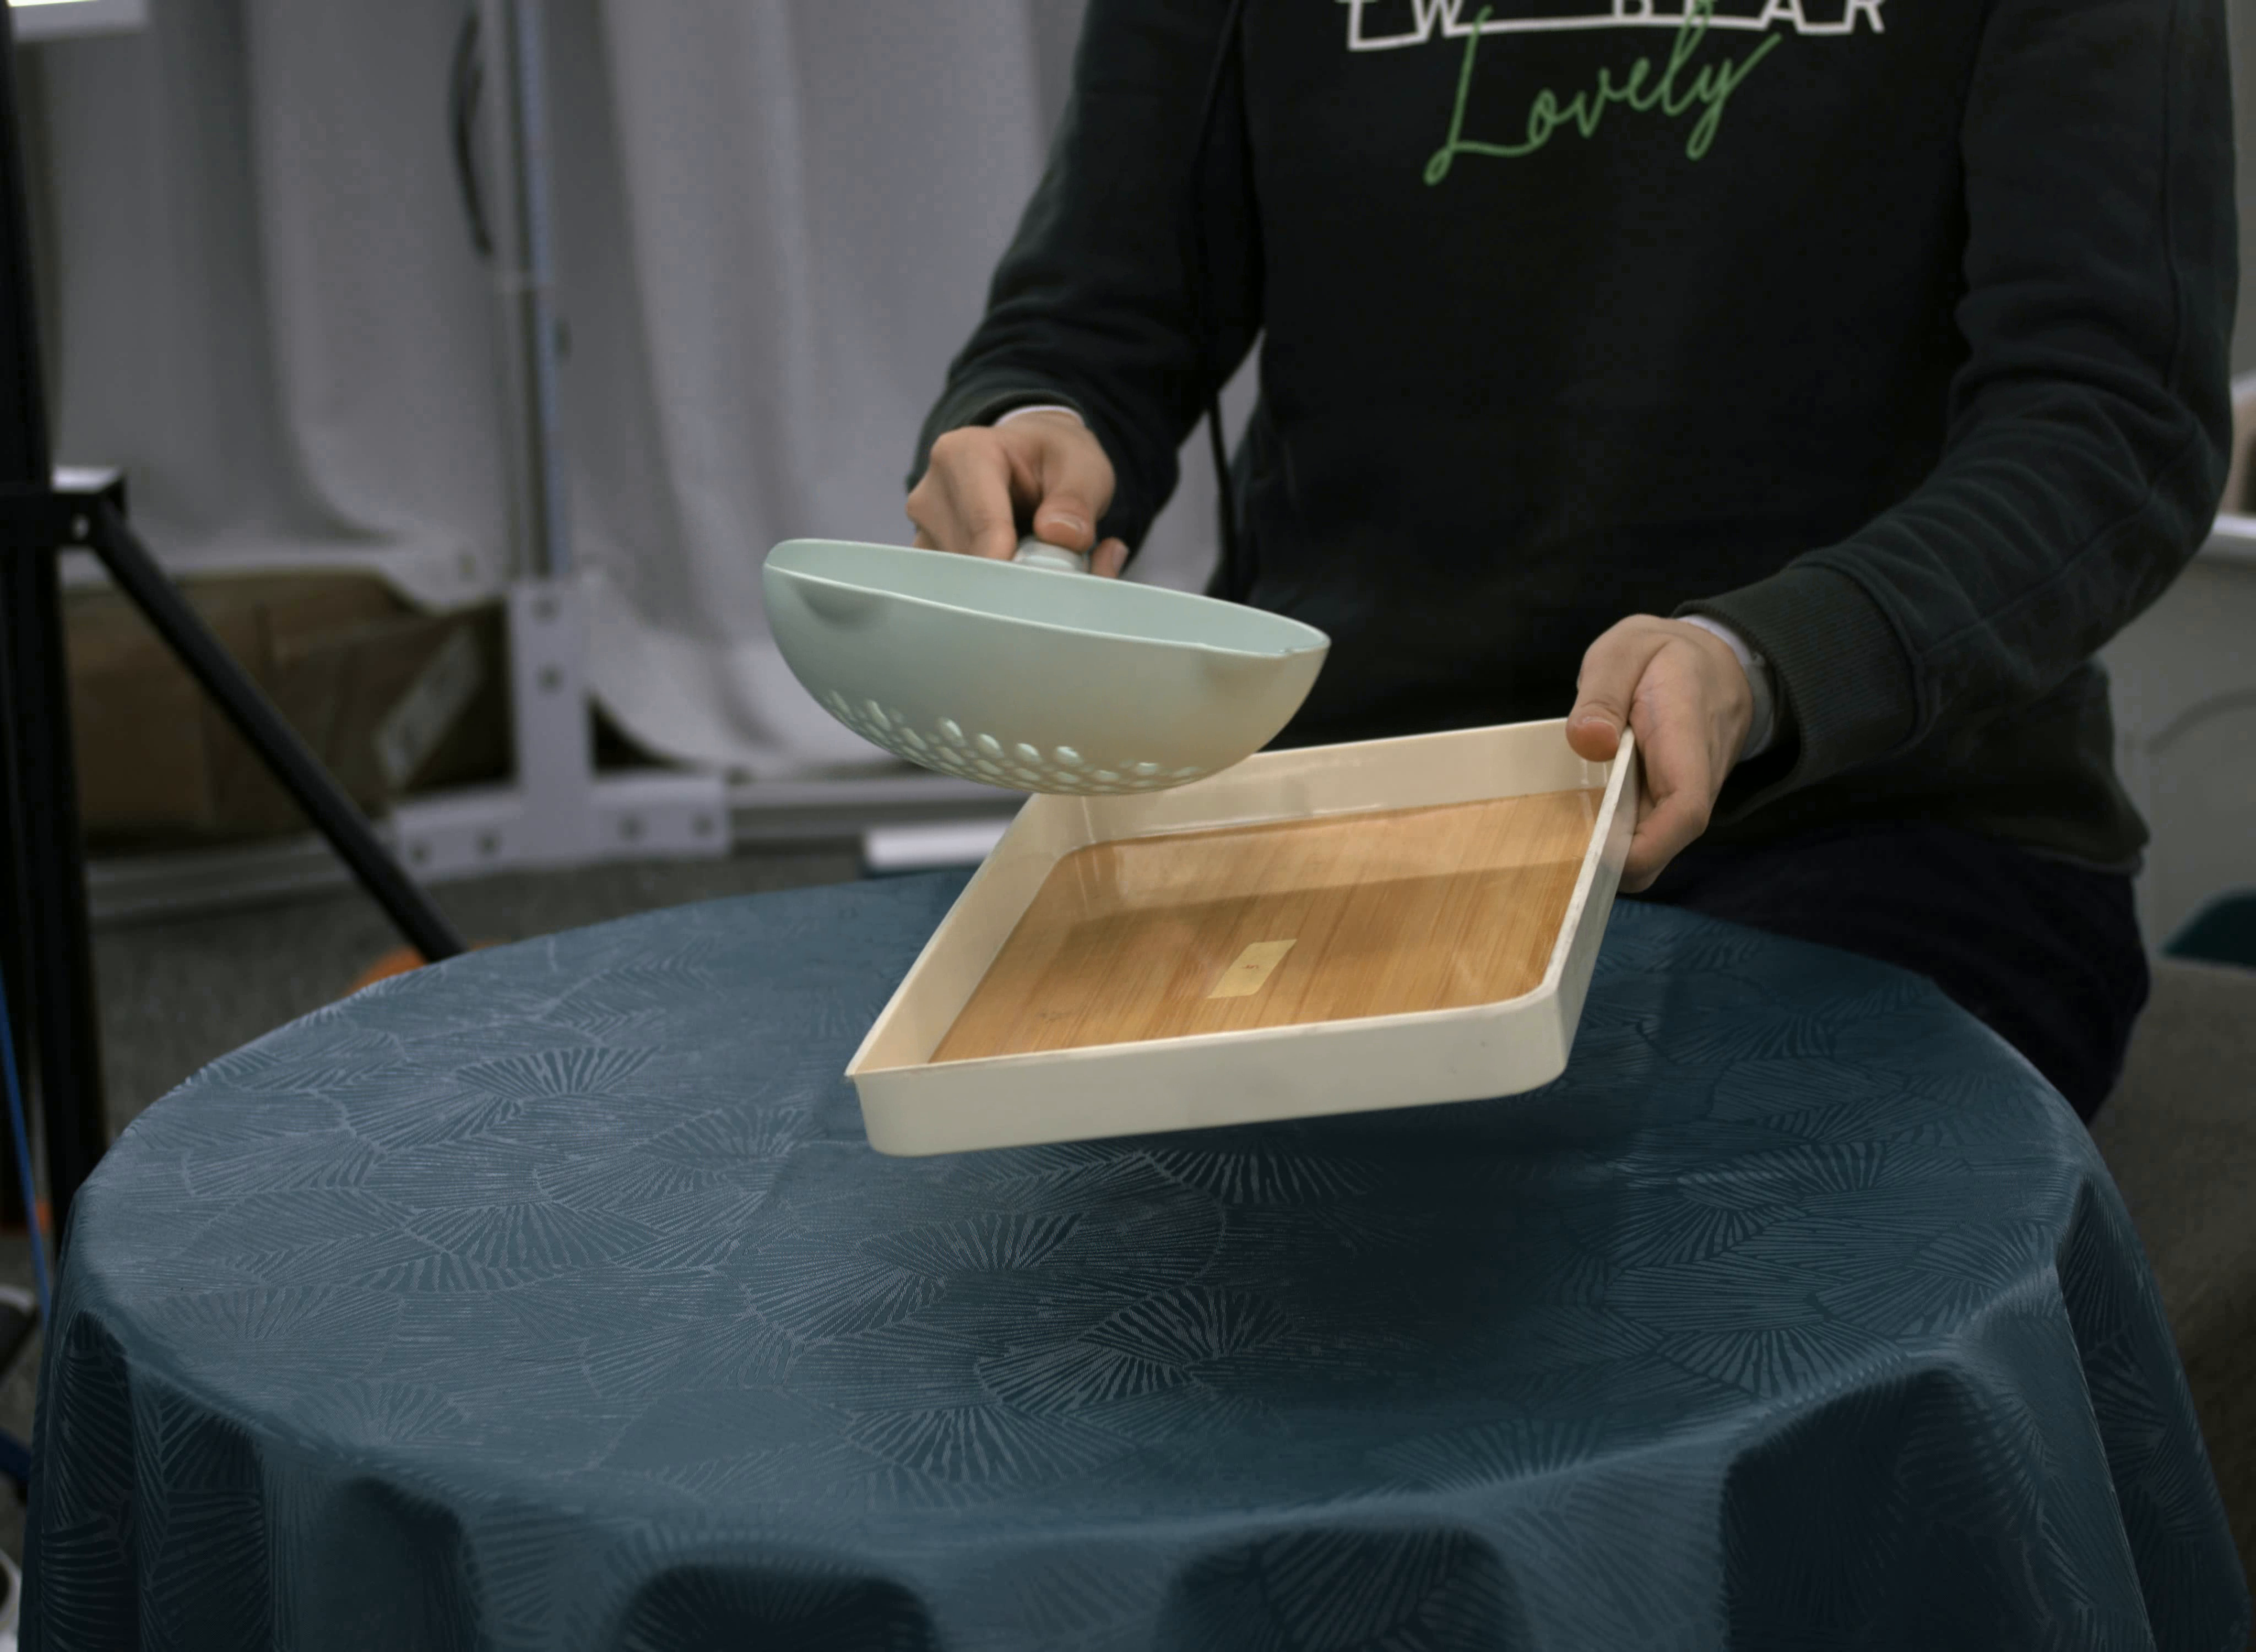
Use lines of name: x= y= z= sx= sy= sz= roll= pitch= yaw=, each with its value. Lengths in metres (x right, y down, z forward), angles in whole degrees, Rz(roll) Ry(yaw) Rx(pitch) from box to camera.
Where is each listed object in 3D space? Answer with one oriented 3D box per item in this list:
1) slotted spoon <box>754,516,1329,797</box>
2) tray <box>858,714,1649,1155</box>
slotted spoon: x=-0.027 y=-0.069 z=1.641 sx=0.168 sy=0.075 sz=0.359 roll=10 pitch=16 yaw=-1
tray: x=0.044 y=0.027 z=1.507 sx=0.192 sy=0.027 sz=0.299 roll=-7 pitch=15 yaw=13
